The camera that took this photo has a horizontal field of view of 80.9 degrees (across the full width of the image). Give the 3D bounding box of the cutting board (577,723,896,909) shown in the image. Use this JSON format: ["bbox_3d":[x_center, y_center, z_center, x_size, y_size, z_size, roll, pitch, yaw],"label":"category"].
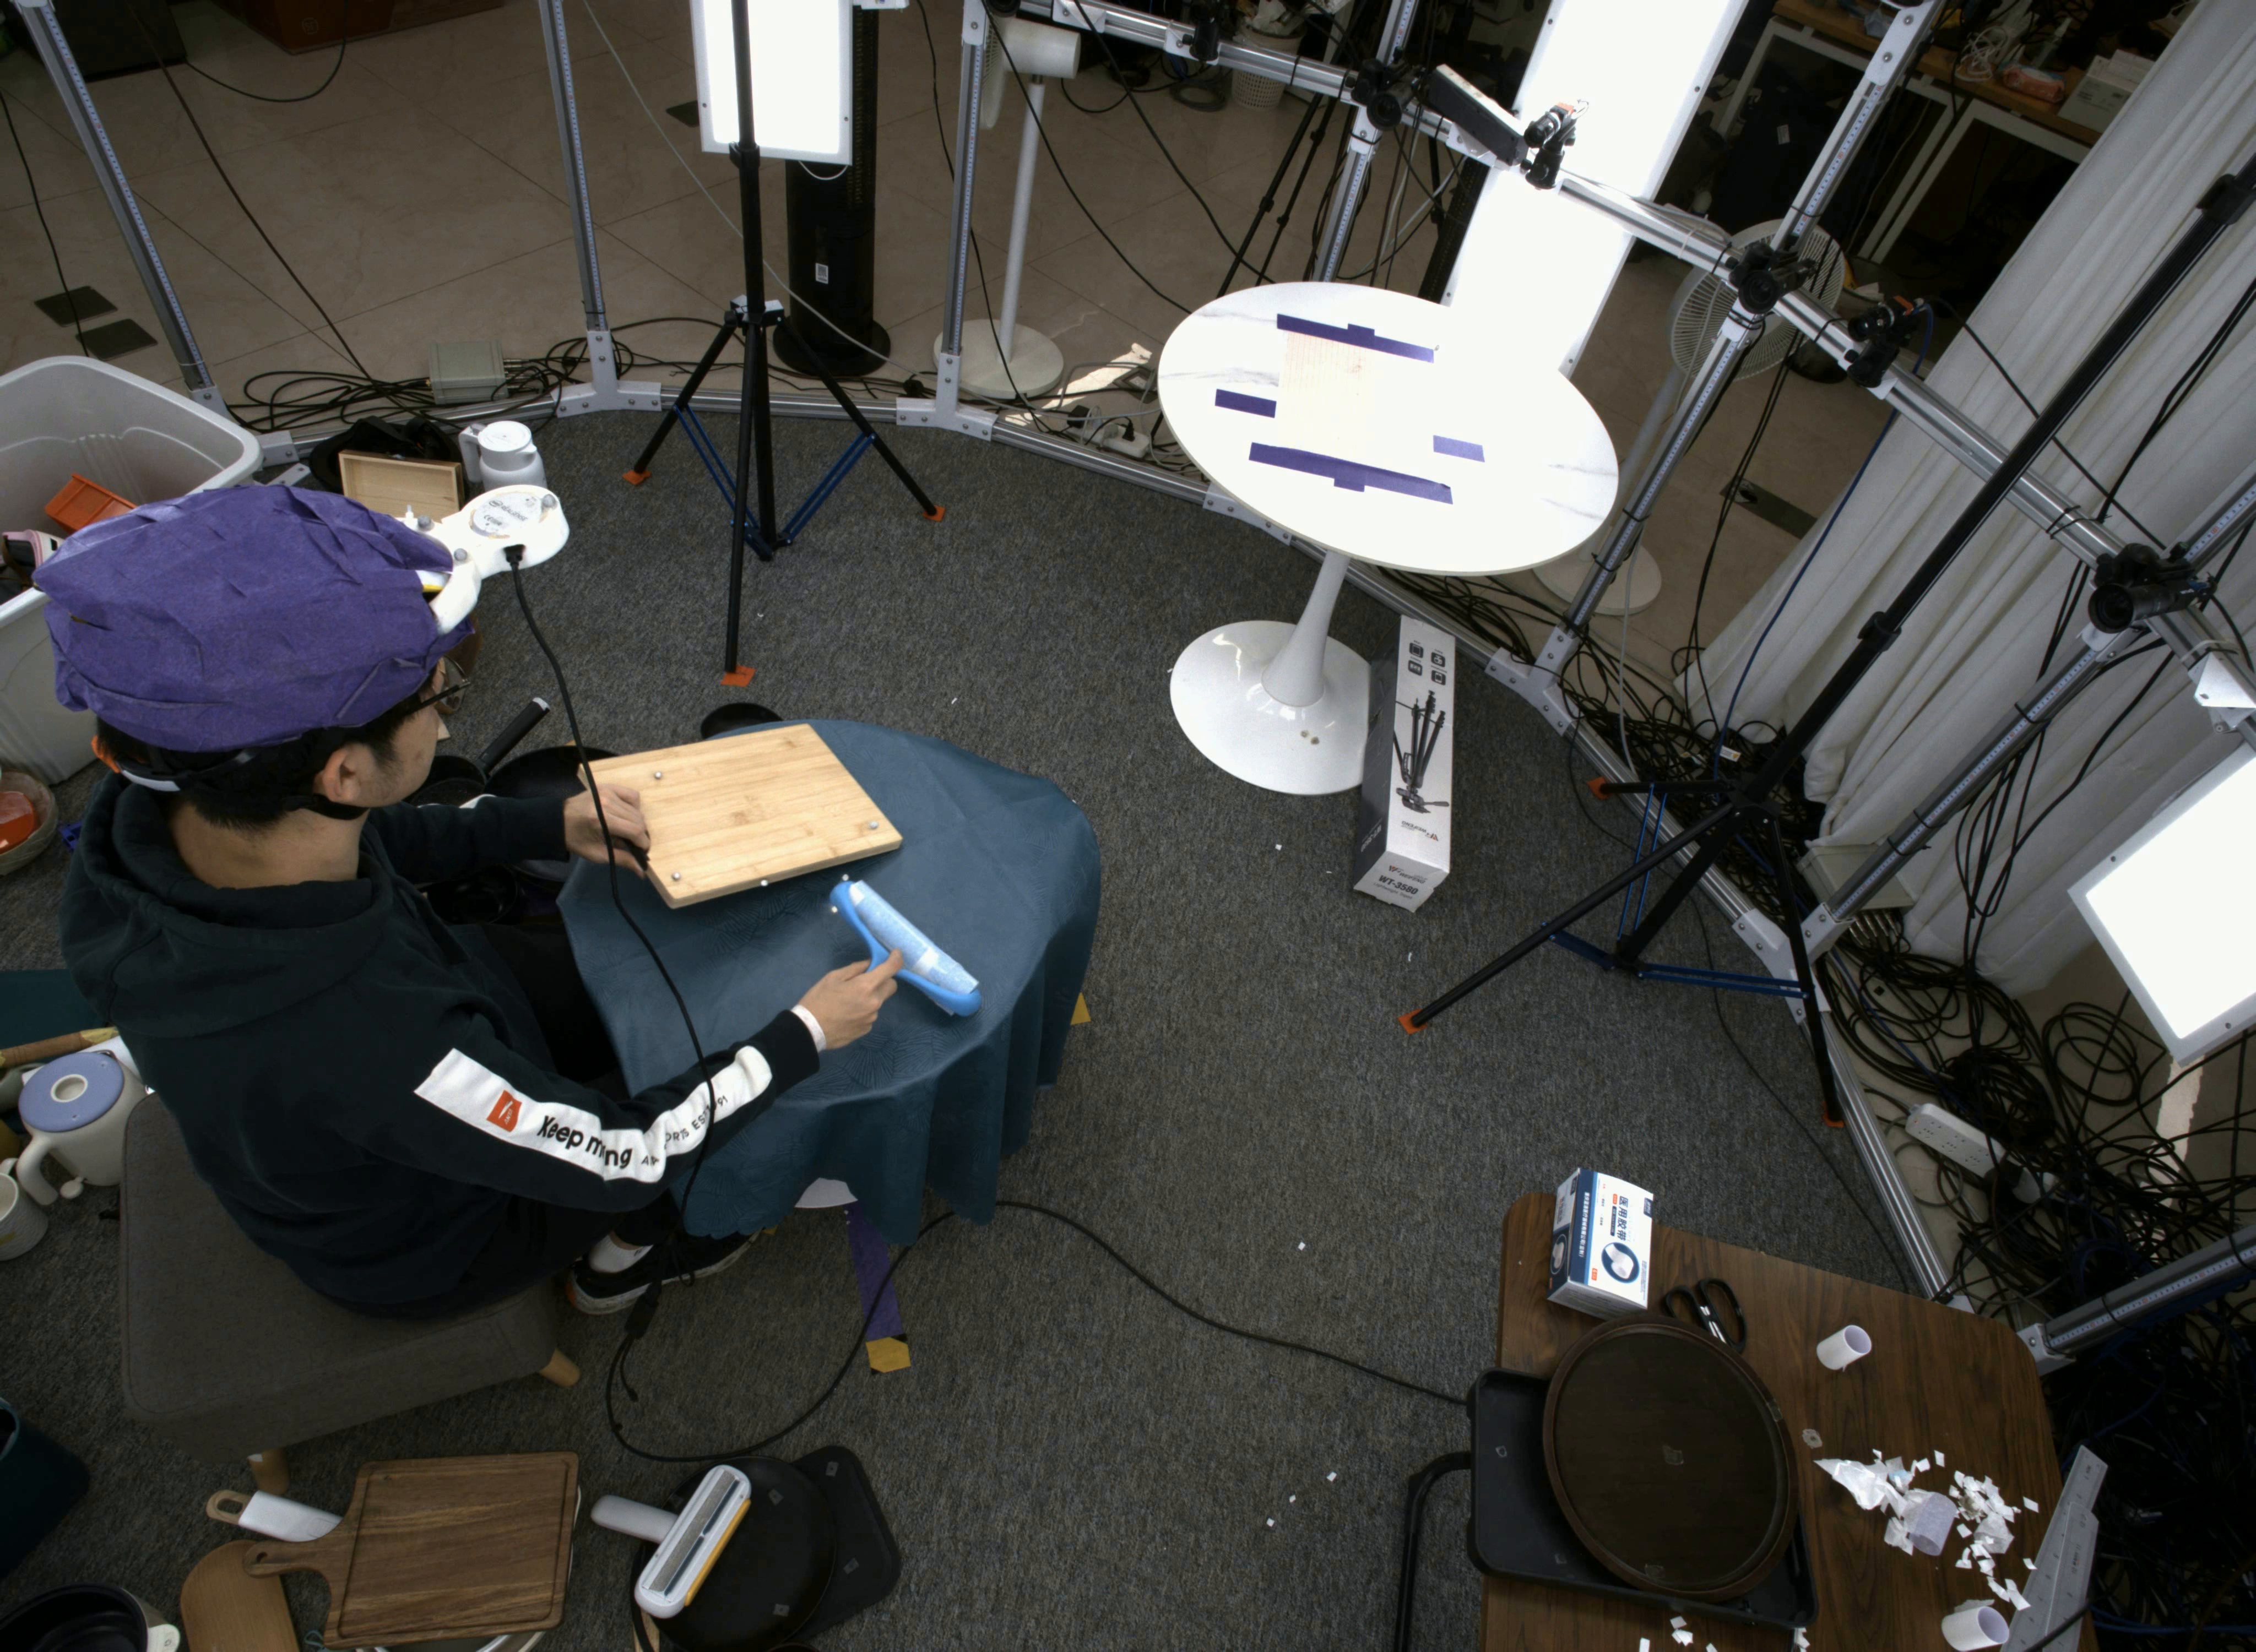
[{"bbox_3d":[-0.494,-0.024,1.645,0.245,0.024,0.353,47,37,21],"label":"cutting board"}]

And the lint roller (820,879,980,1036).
[{"bbox_3d":[-0.297,0.176,1.547,0.230,0.068,0.179,40,42,-4],"label":"lint roller"}]
